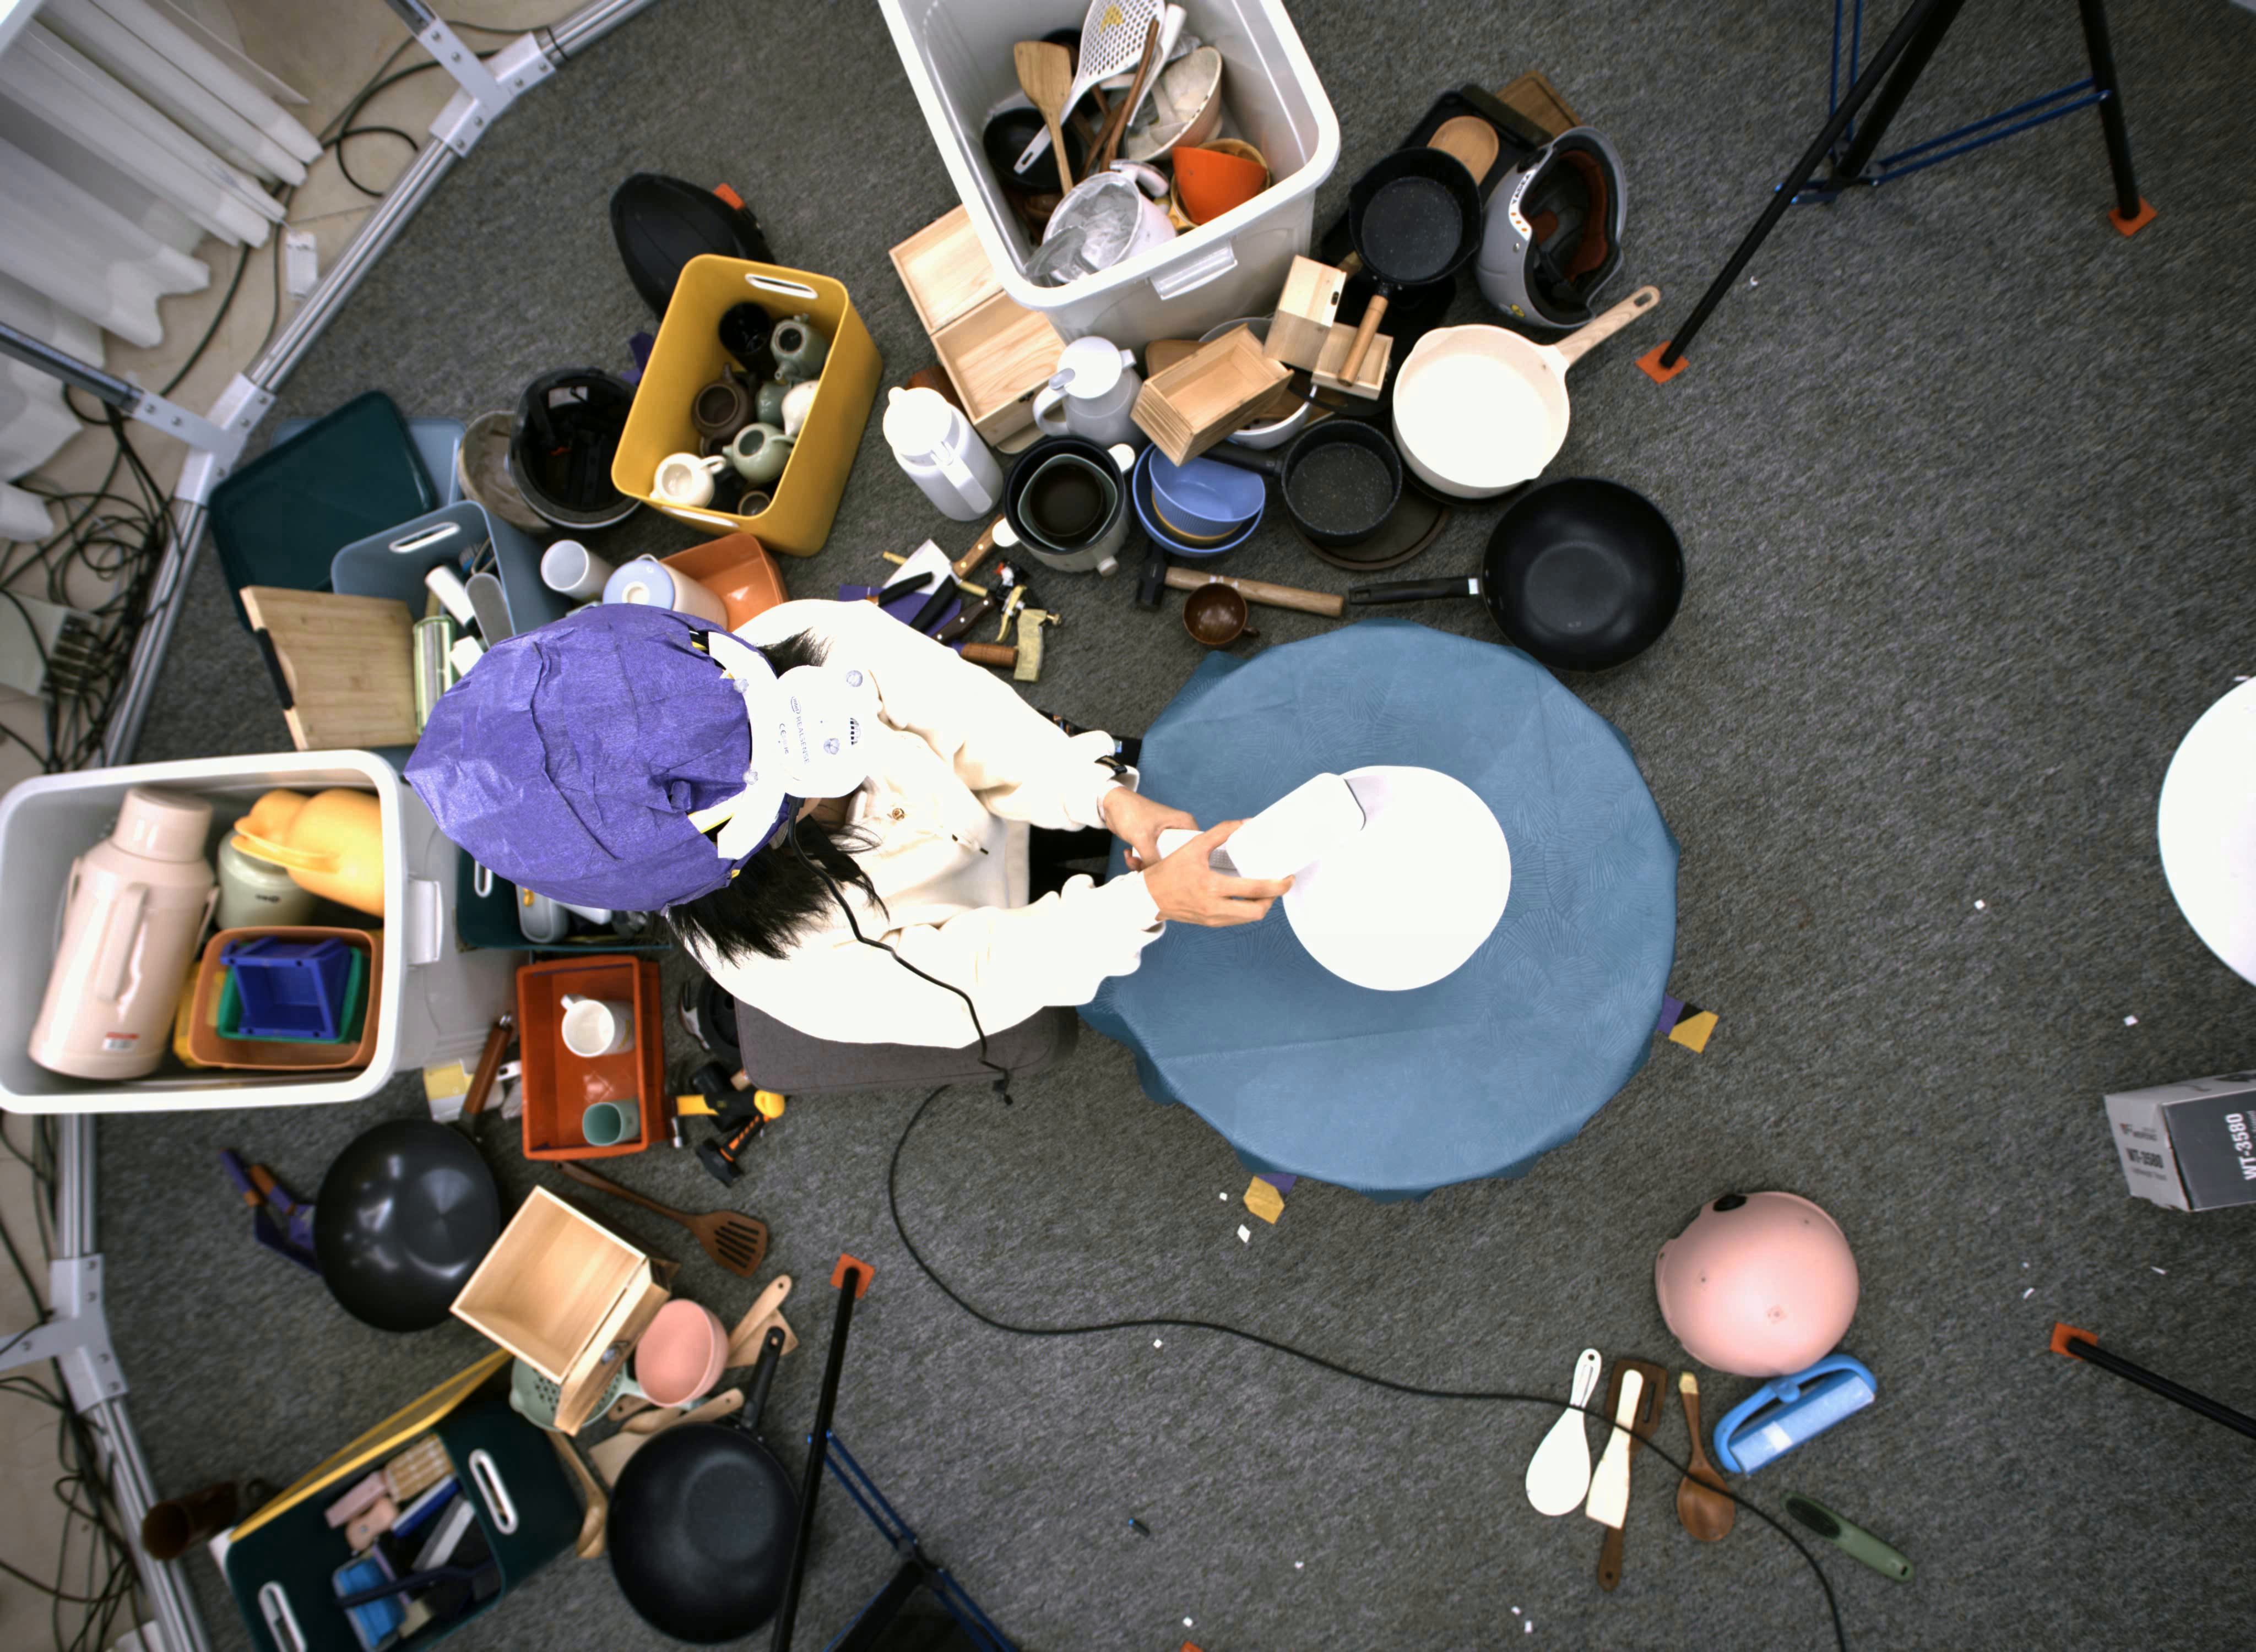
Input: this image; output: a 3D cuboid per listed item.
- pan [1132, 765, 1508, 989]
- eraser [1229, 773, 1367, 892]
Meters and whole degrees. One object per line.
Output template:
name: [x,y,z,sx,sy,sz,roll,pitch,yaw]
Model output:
pan: [0.180,0.033,1.305,0.356,0.101,0.202,8,100,29]
eraser: [0.150,0.005,1.241,0.134,0.034,0.063,-35,75,31]
